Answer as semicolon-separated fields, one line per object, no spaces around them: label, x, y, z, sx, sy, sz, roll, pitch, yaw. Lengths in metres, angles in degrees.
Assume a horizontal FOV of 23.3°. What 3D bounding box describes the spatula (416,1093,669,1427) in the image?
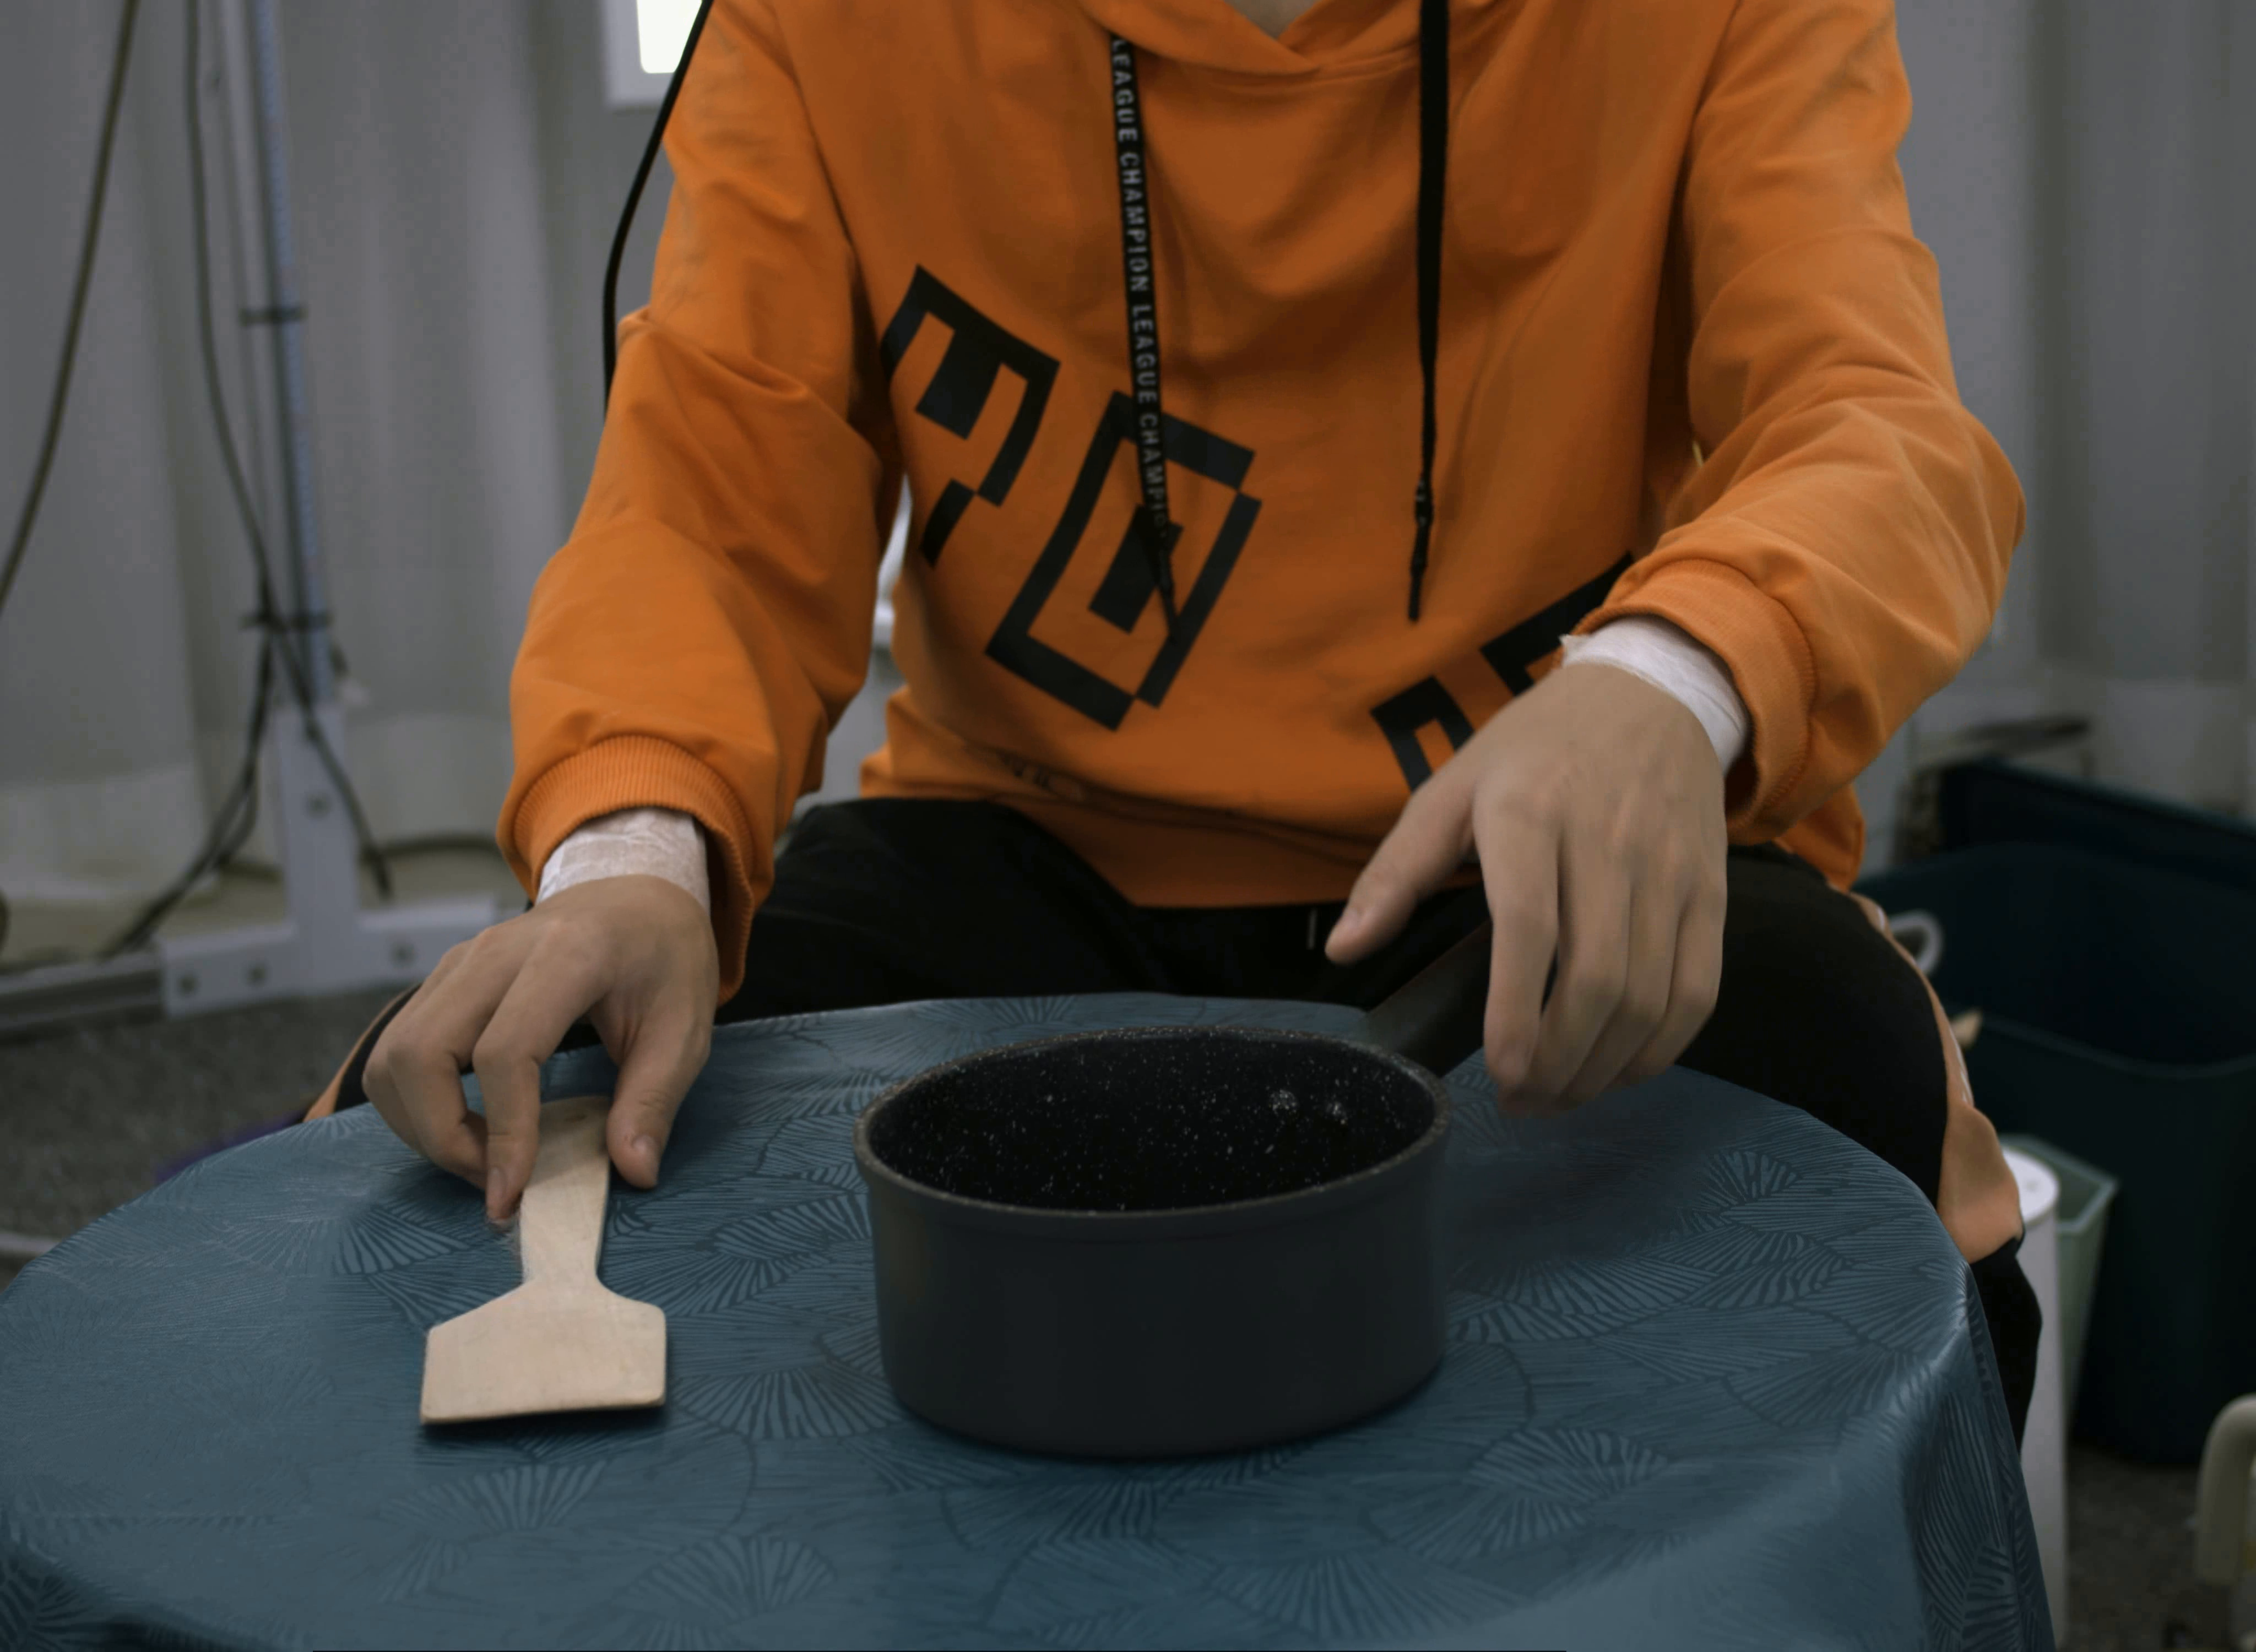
spatula;-0.175;0.130;1.676;0.072;0.010;0.295;-7;15;-2

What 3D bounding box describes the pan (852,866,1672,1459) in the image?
pan;0.058;0.095;1.615;0.173;0.086;0.329;10;21;38
